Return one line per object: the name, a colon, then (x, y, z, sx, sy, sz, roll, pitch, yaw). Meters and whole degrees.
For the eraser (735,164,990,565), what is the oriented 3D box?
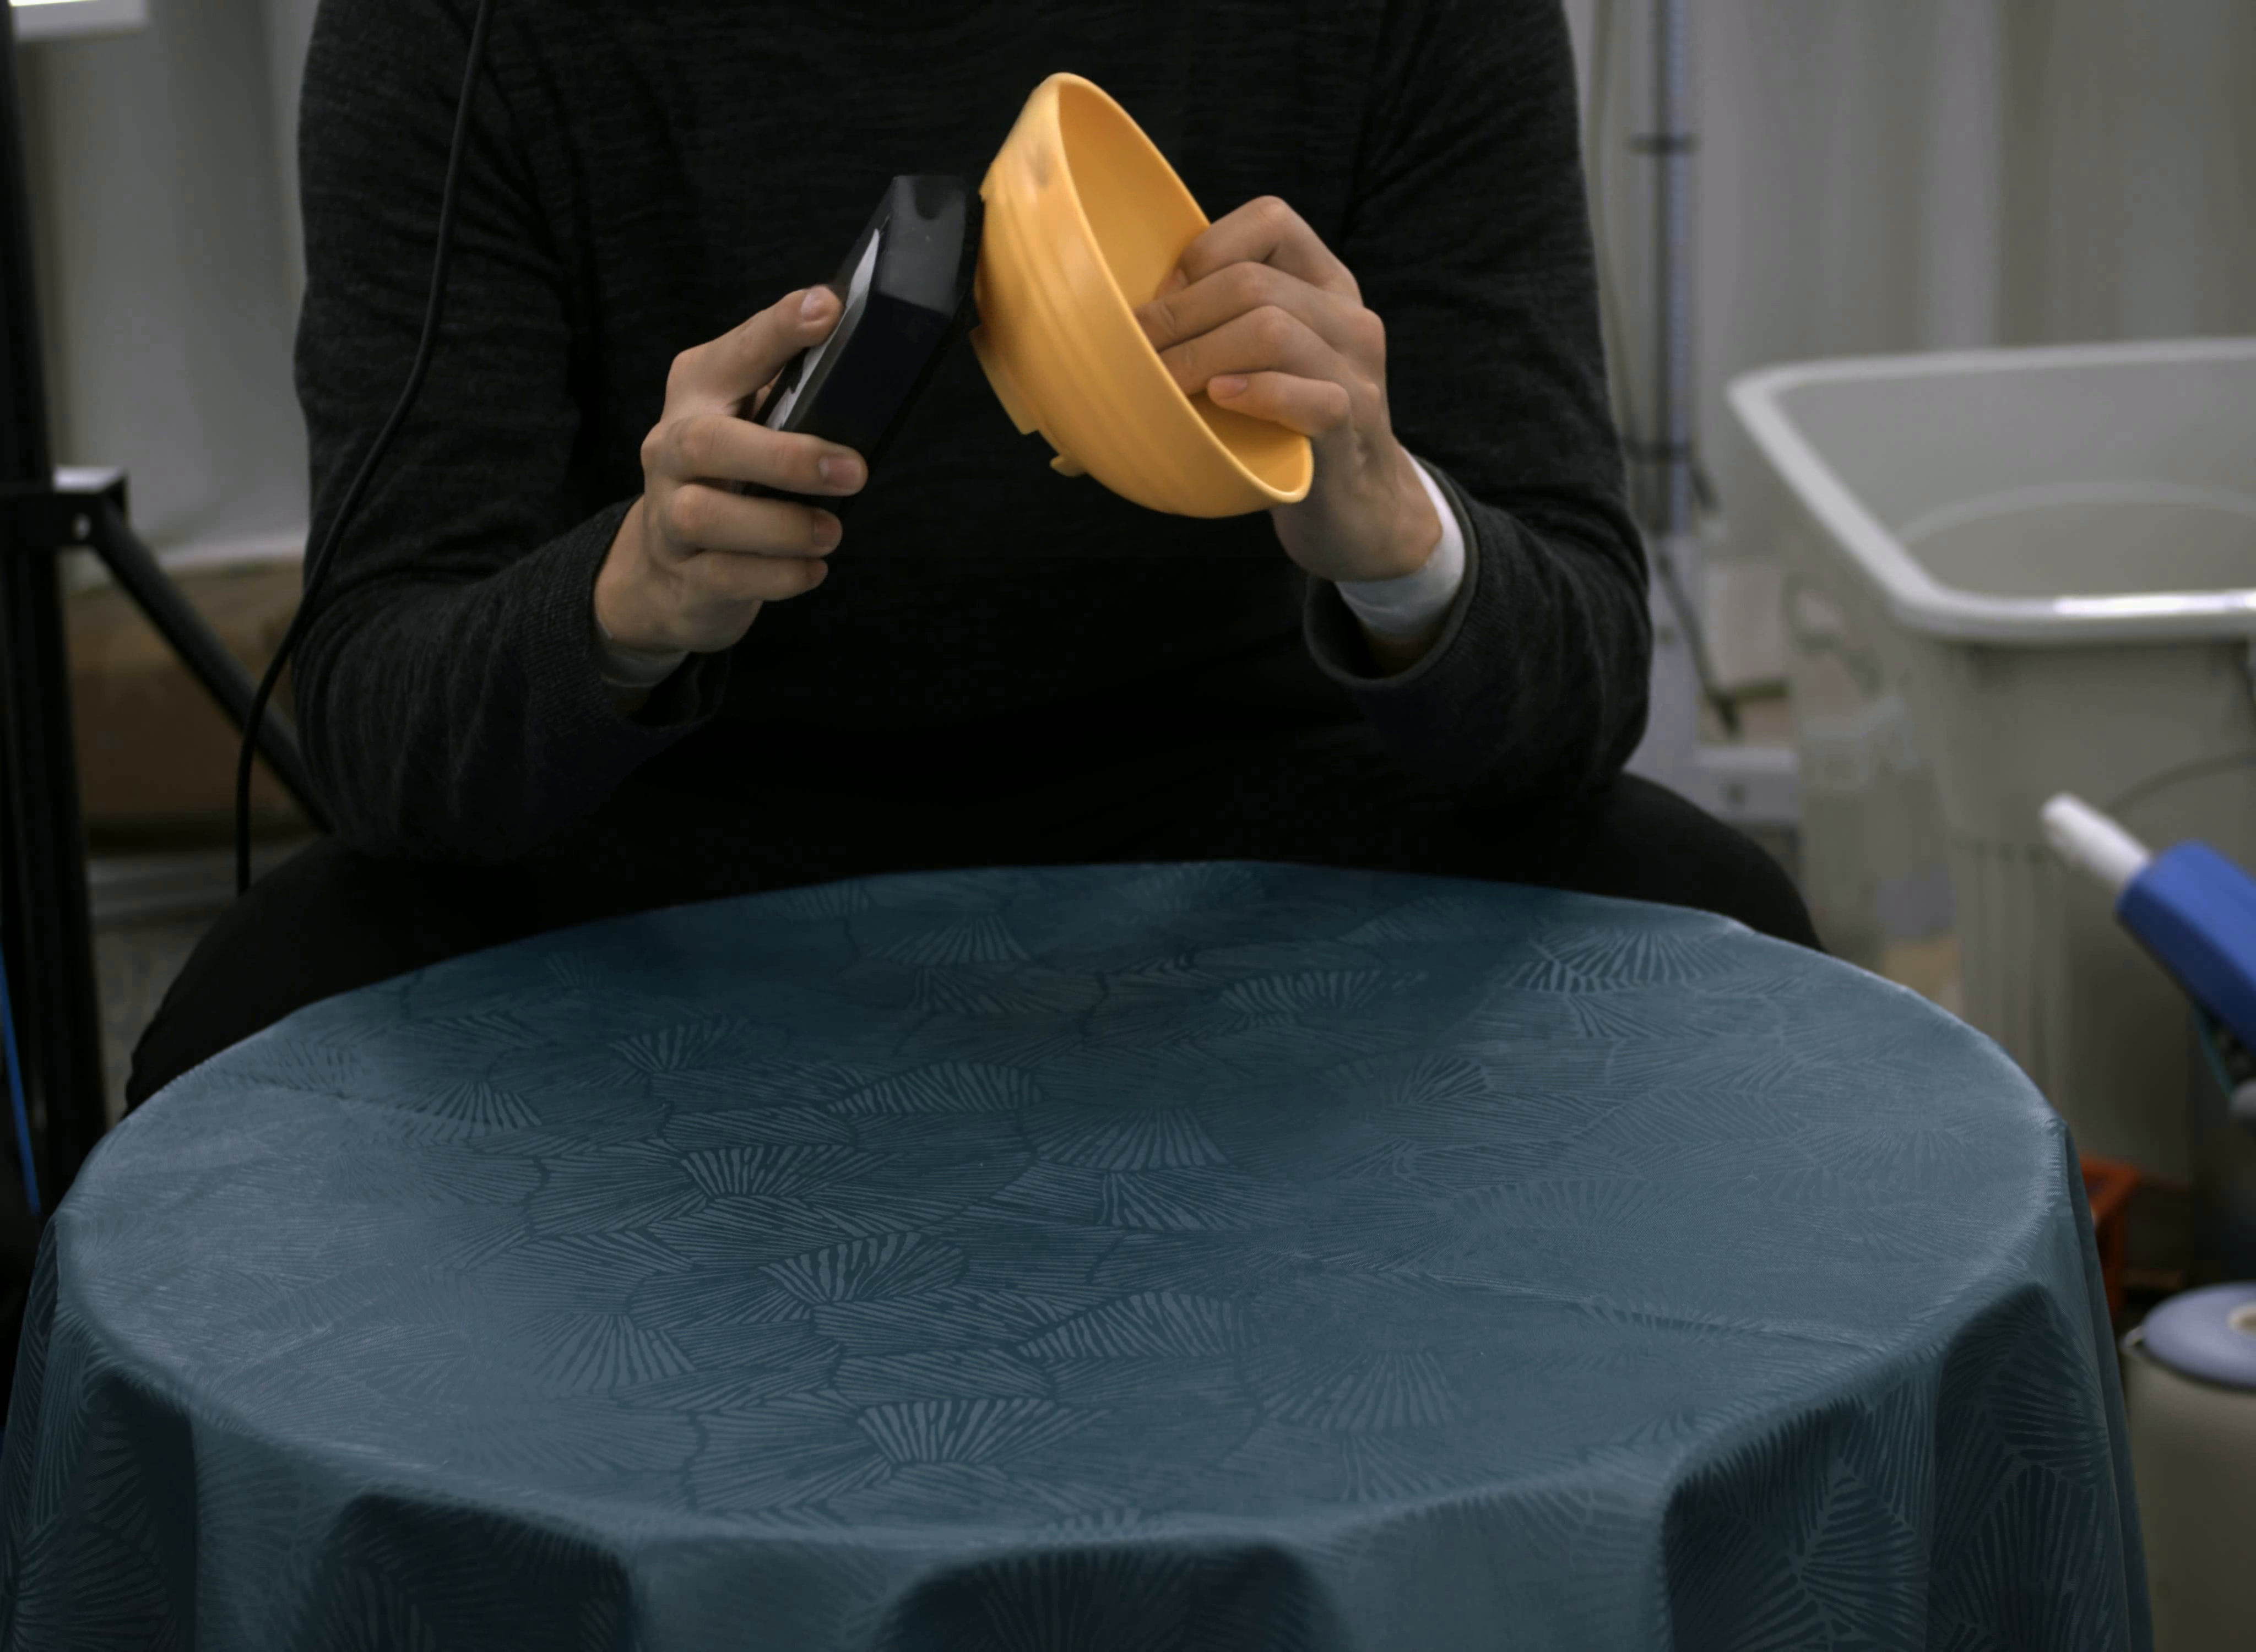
eraser: (-0.079, -0.136, 1.582, 0.030, 0.126, 0.054, 21, 47, -13)

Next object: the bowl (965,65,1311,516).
bowl: (-0.007, -0.148, 1.592, 0.060, 0.145, 0.144, -27, 7, 19)
